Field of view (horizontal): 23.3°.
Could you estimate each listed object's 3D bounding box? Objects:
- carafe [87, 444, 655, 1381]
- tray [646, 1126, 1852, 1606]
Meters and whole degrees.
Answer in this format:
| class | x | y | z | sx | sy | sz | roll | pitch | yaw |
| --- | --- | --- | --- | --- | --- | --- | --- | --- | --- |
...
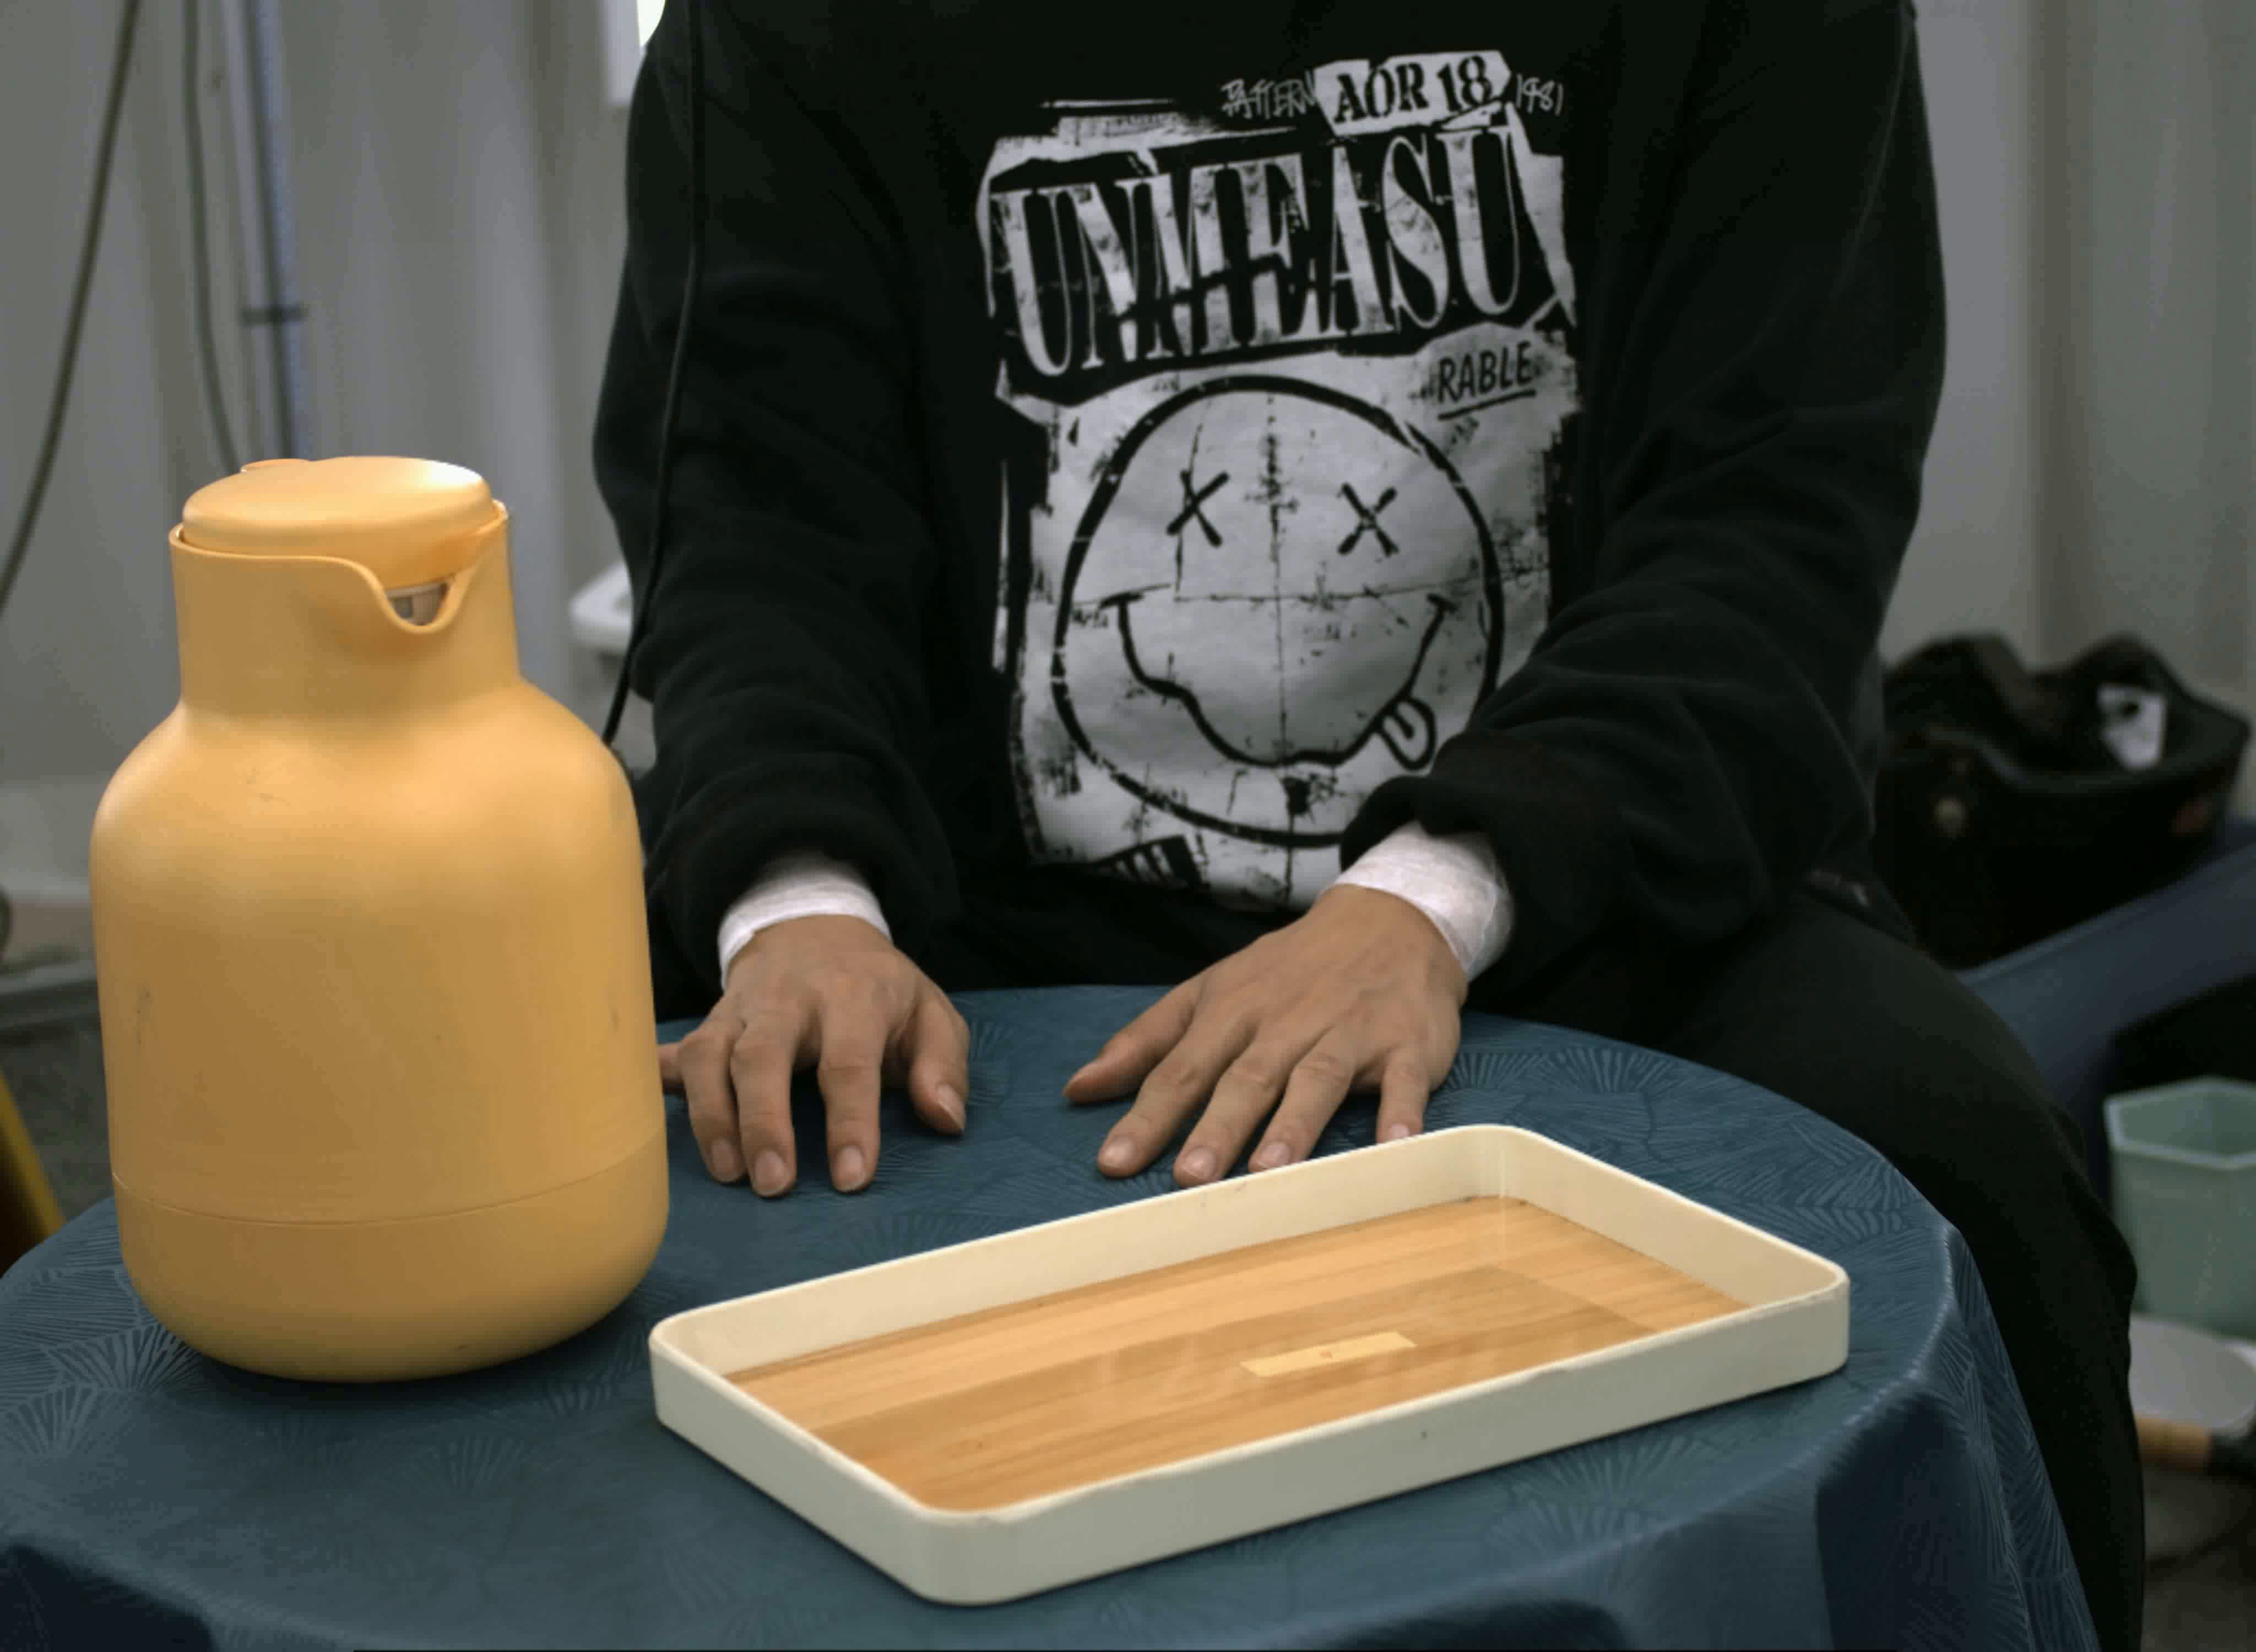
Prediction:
| class | x | y | z | sx | sy | sz | roll | pitch | yaw |
| --- | --- | --- | --- | --- | --- | --- | --- | --- | --- |
| carafe | -0.229 | 0.017 | 1.621 | 0.162 | 0.259 | 0.204 | -6 | 16 | -22 |
| tray | 0.034 | 0.147 | 1.536 | 0.299 | 0.027 | 0.193 | -11 | 17 | -28 |
